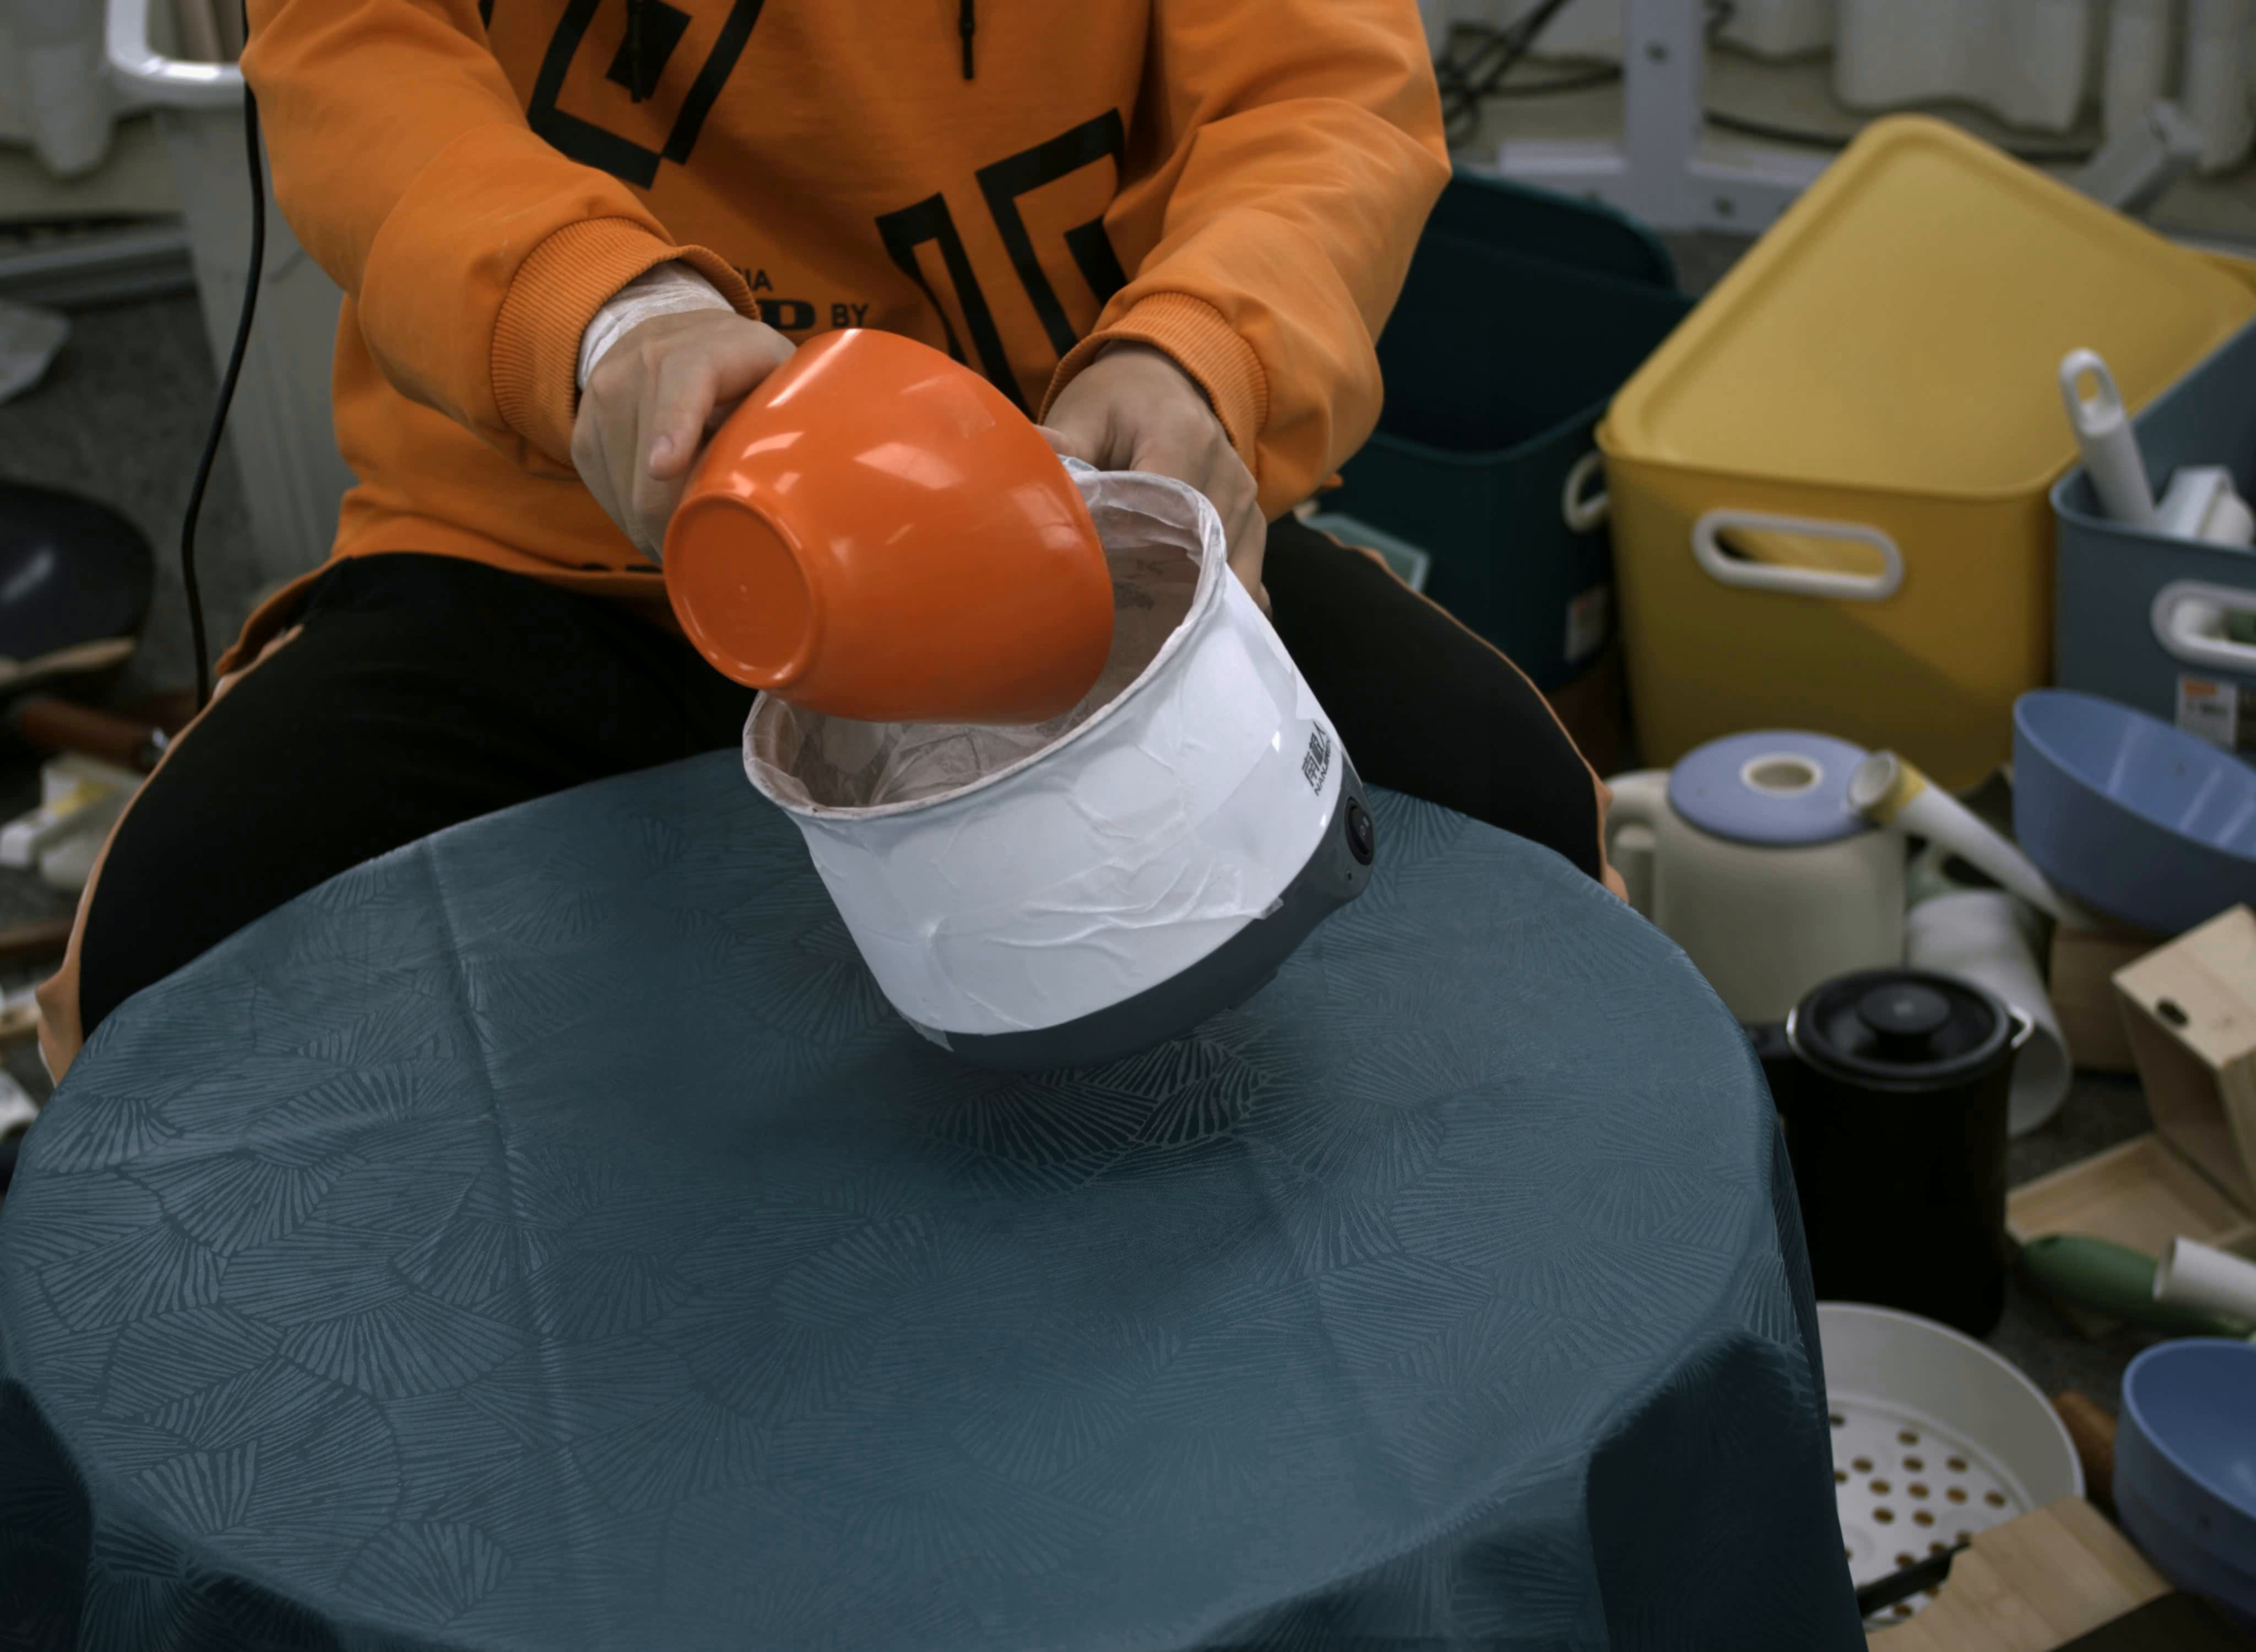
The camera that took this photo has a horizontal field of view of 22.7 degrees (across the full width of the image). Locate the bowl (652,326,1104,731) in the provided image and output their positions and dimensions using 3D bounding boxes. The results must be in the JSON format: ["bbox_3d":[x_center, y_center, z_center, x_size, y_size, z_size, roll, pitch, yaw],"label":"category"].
[{"bbox_3d":[-0.092,-0.082,1.822,0.147,0.146,0.106,18,31,35],"label":"bowl"}]

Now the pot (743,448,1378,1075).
[{"bbox_3d":[-0.017,-0.032,1.901,0.177,0.135,0.238,-16,33,21],"label":"pot"}]
